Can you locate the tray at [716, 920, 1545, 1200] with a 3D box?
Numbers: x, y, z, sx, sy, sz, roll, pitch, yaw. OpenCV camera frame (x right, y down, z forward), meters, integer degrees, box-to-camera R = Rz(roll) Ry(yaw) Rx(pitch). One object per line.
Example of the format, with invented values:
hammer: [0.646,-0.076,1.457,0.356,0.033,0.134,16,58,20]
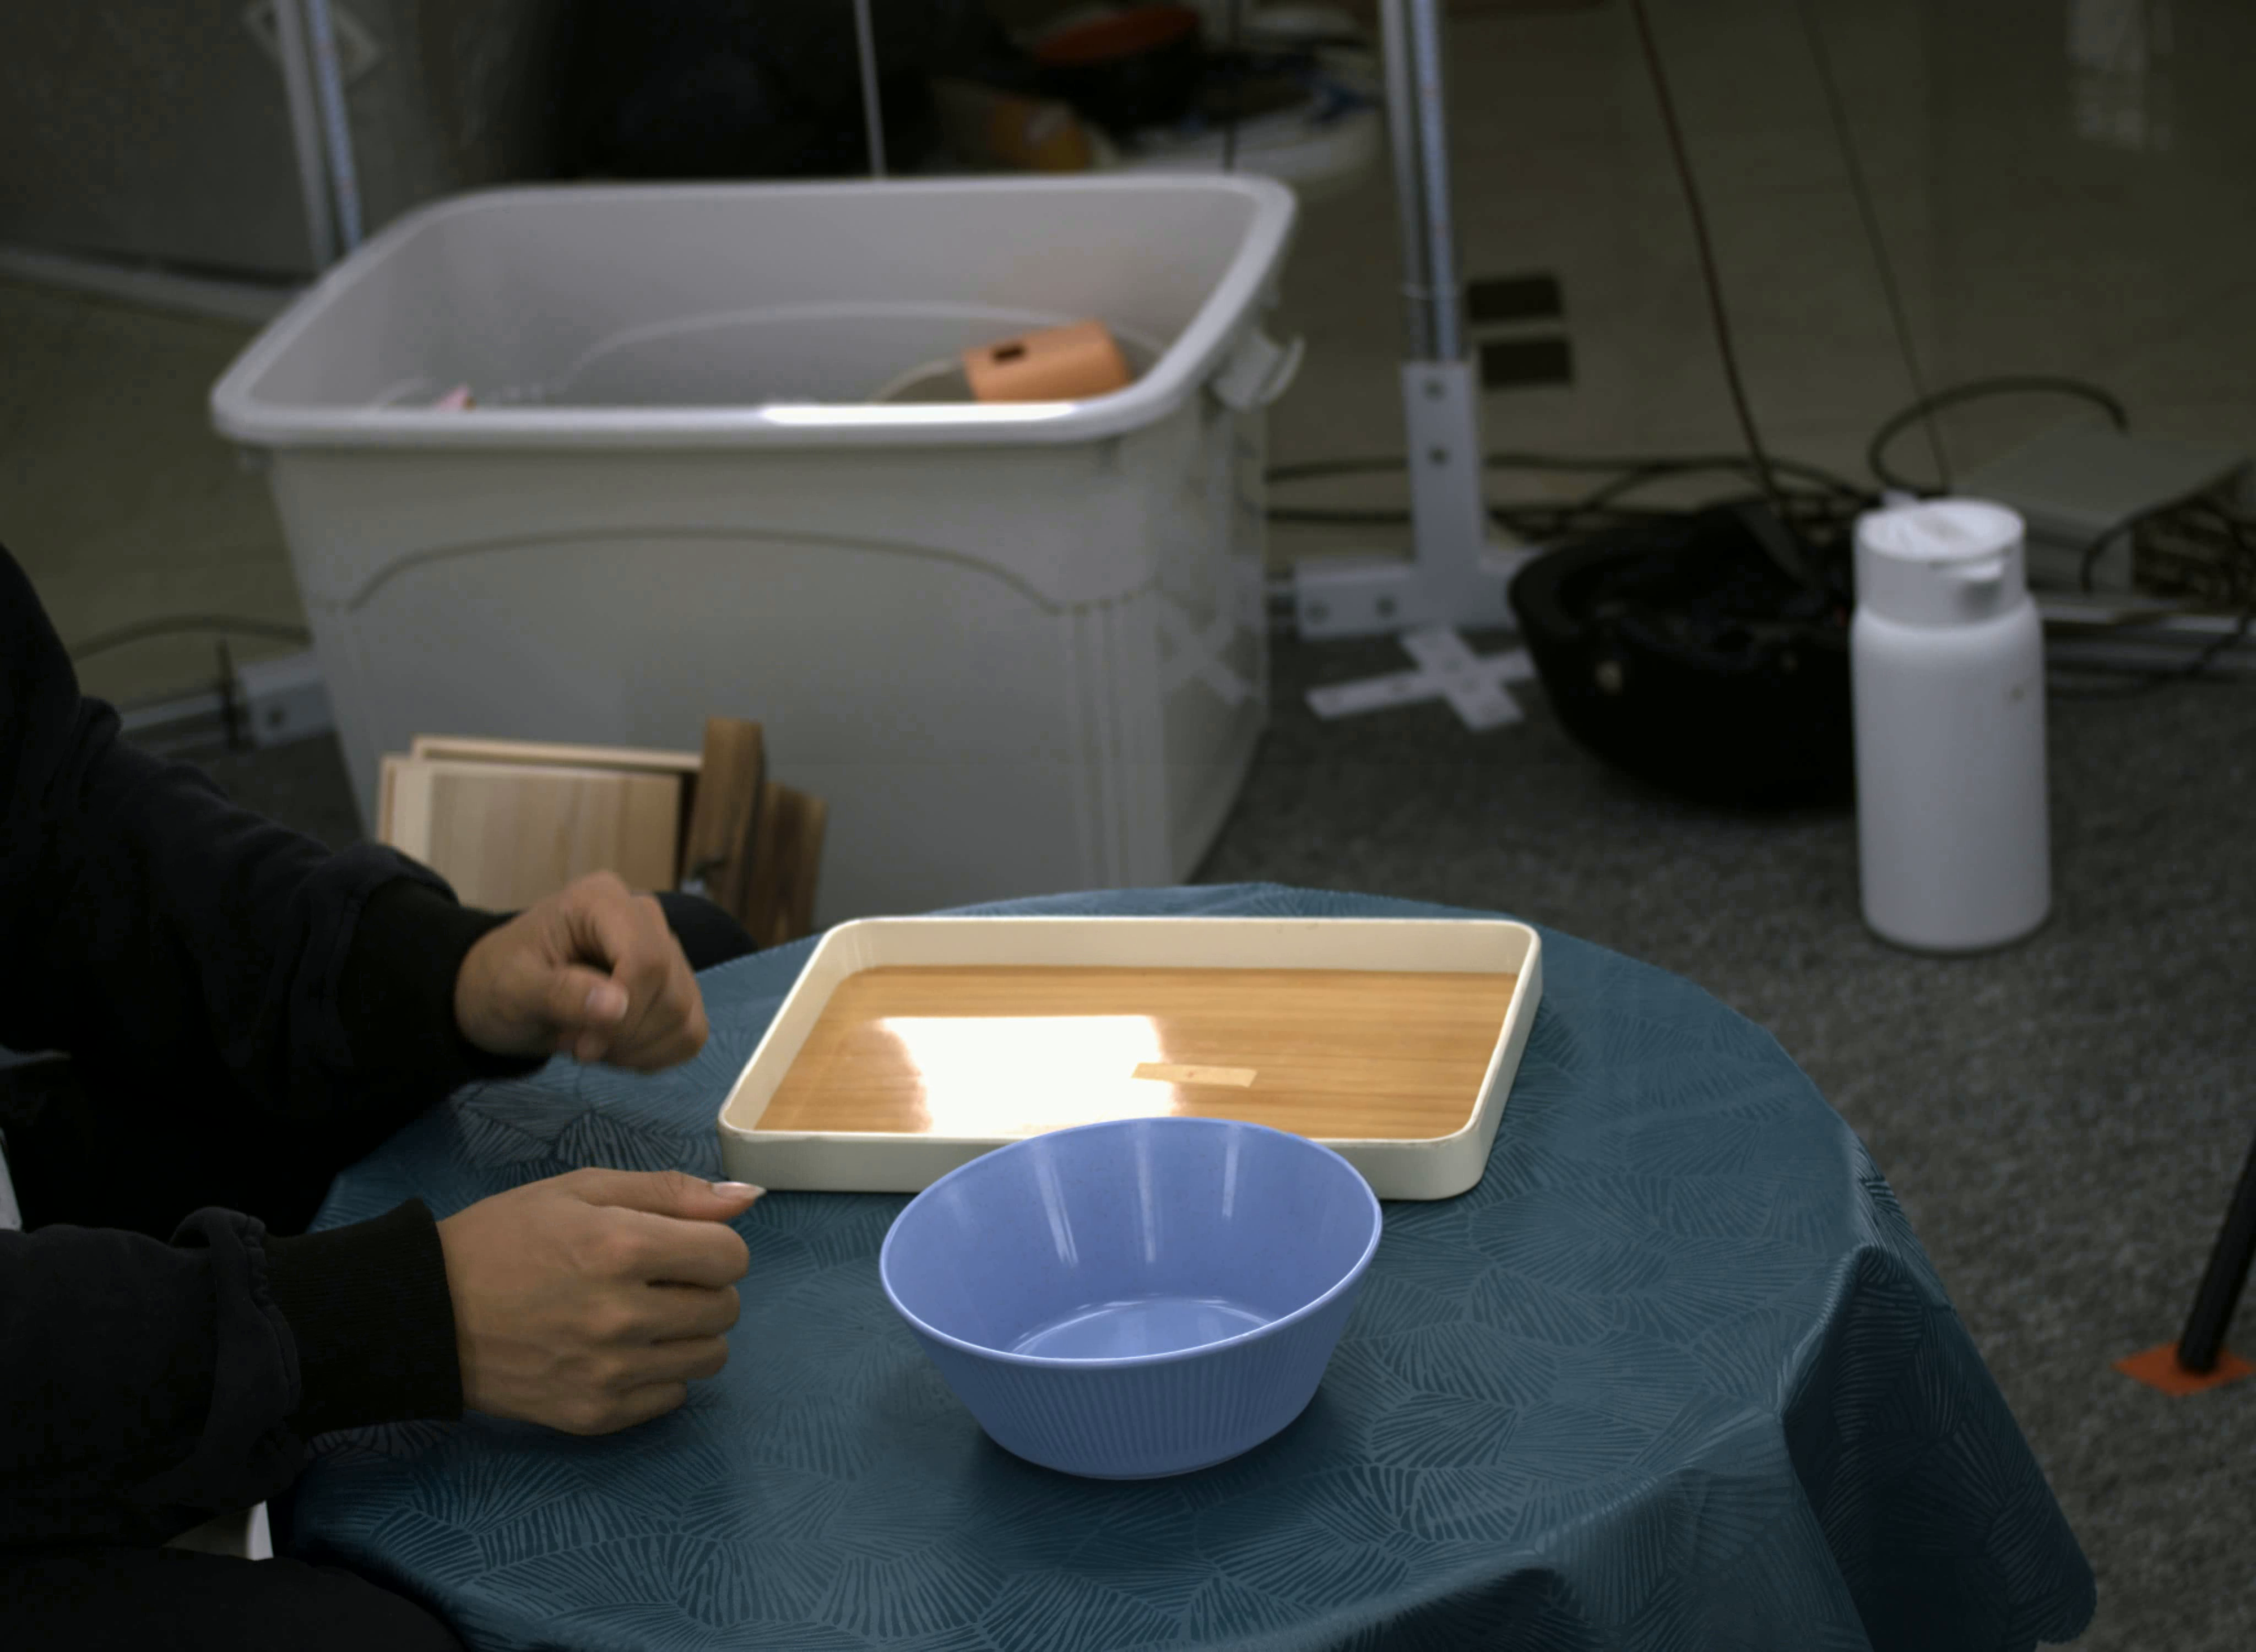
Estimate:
tray: [0.004,0.090,2.226,0.299,0.028,0.189,0,25,14]

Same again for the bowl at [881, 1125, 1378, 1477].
bowl: [0.003,0.173,1.994,0.176,0.071,0.173,-5,24,2]
